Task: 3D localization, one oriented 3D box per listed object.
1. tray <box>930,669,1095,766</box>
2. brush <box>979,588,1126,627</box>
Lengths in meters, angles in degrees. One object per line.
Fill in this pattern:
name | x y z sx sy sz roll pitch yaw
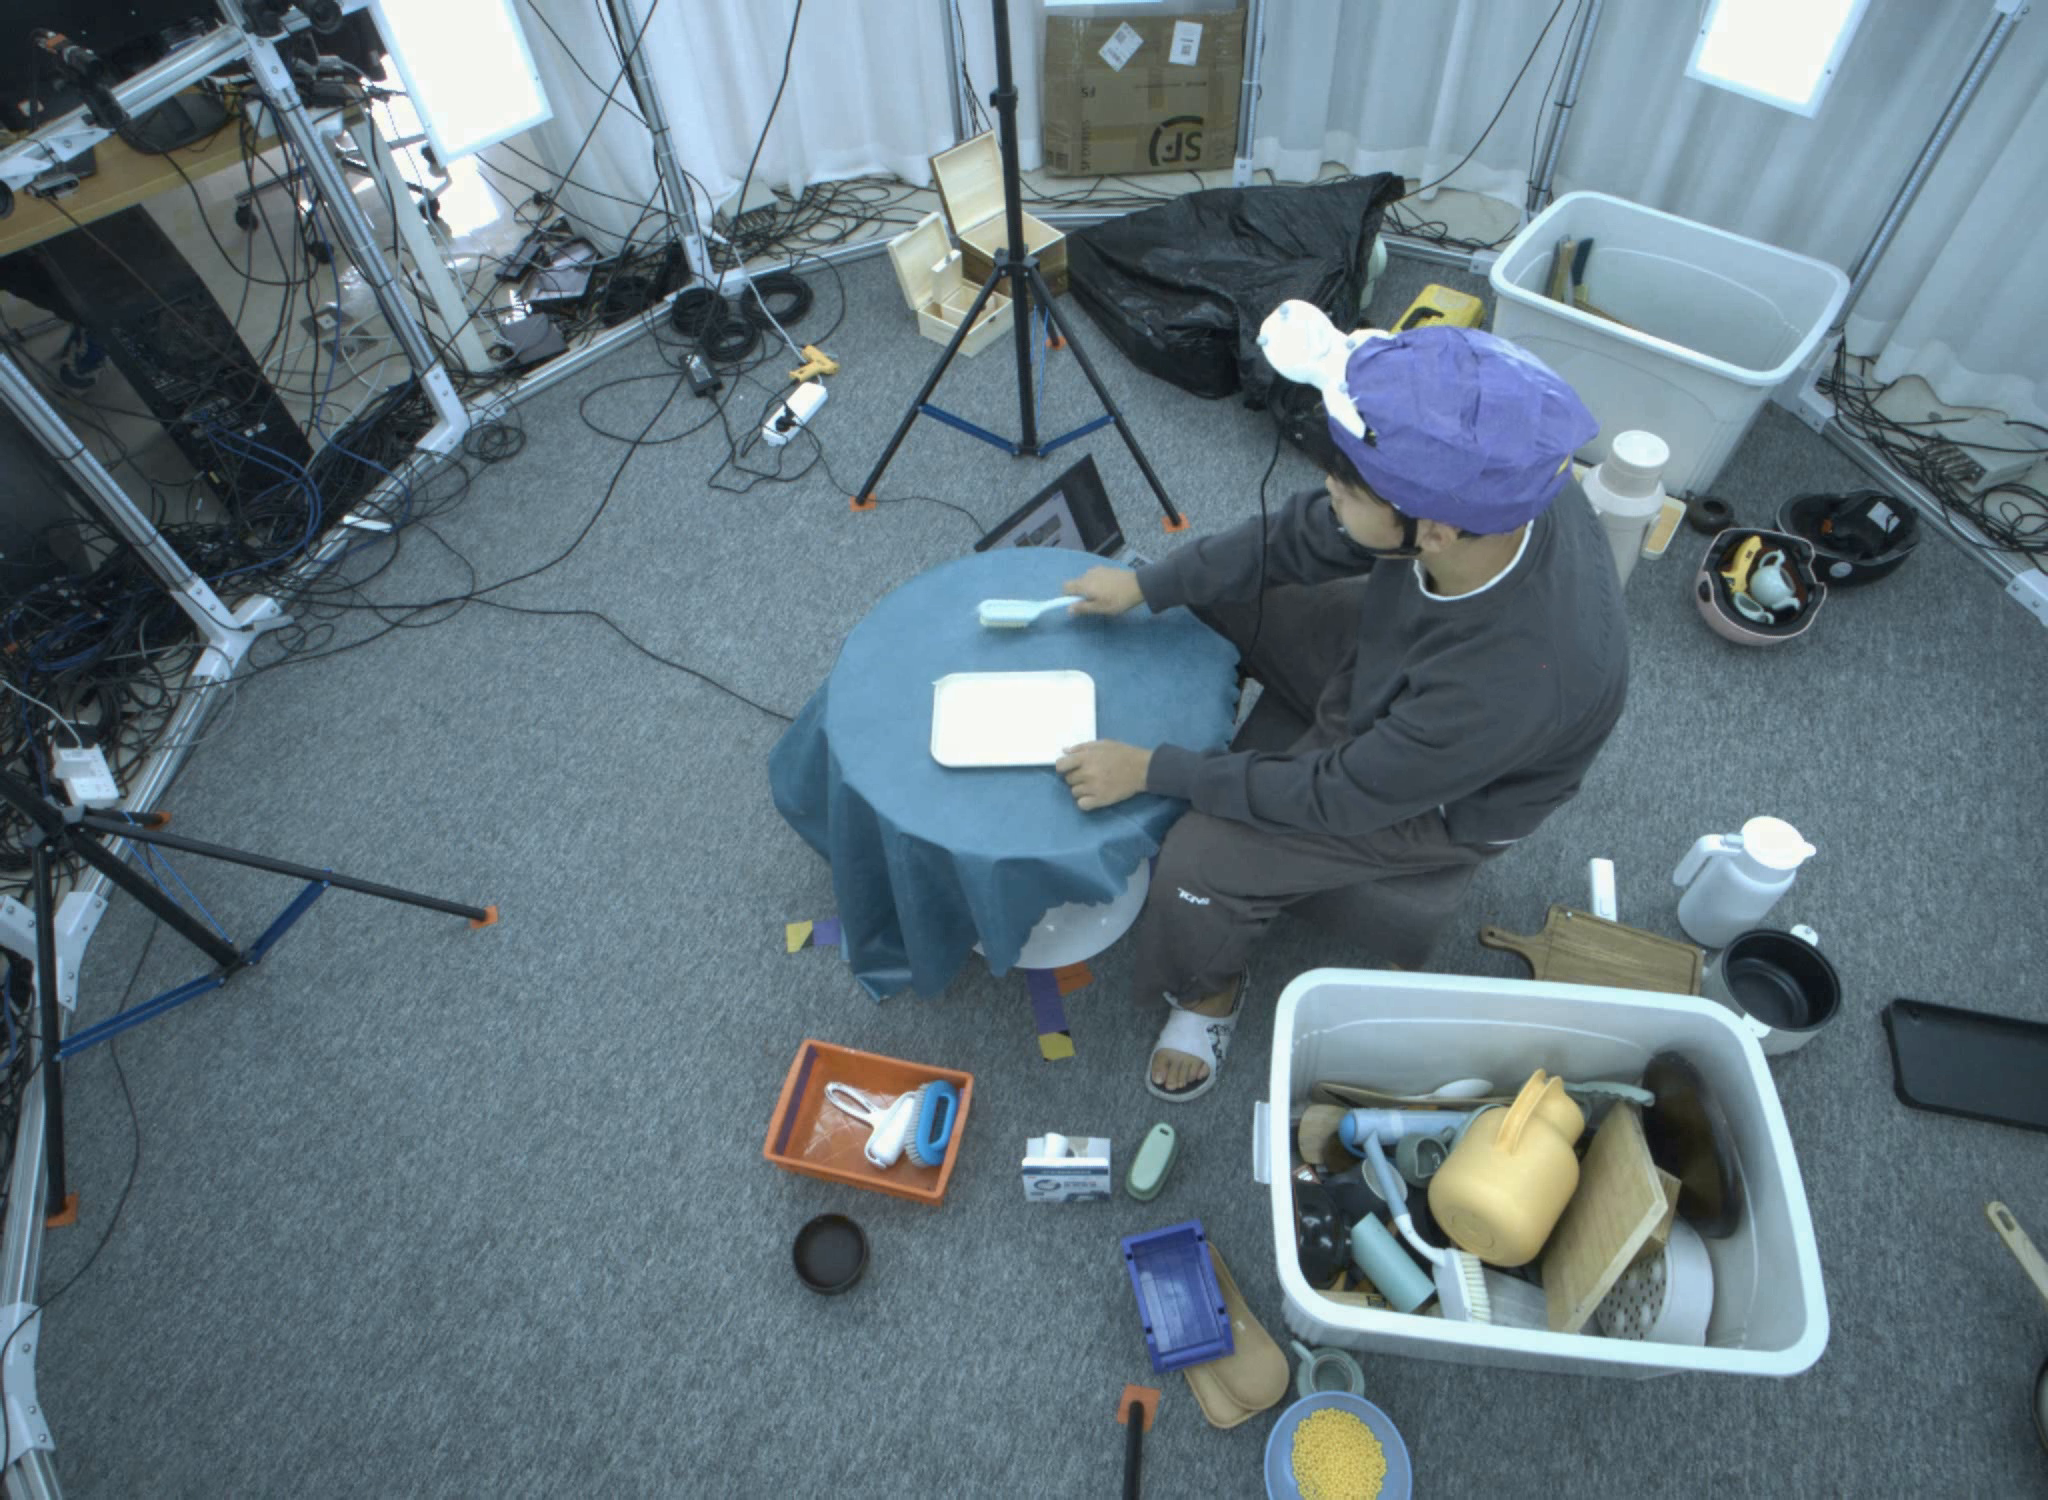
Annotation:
tray | -0.016 -0.047 1.810 0.239 0.017 0.169 -1 55 1
brush | 0.044 -0.222 1.910 0.229 0.050 0.037 -9 62 -3
